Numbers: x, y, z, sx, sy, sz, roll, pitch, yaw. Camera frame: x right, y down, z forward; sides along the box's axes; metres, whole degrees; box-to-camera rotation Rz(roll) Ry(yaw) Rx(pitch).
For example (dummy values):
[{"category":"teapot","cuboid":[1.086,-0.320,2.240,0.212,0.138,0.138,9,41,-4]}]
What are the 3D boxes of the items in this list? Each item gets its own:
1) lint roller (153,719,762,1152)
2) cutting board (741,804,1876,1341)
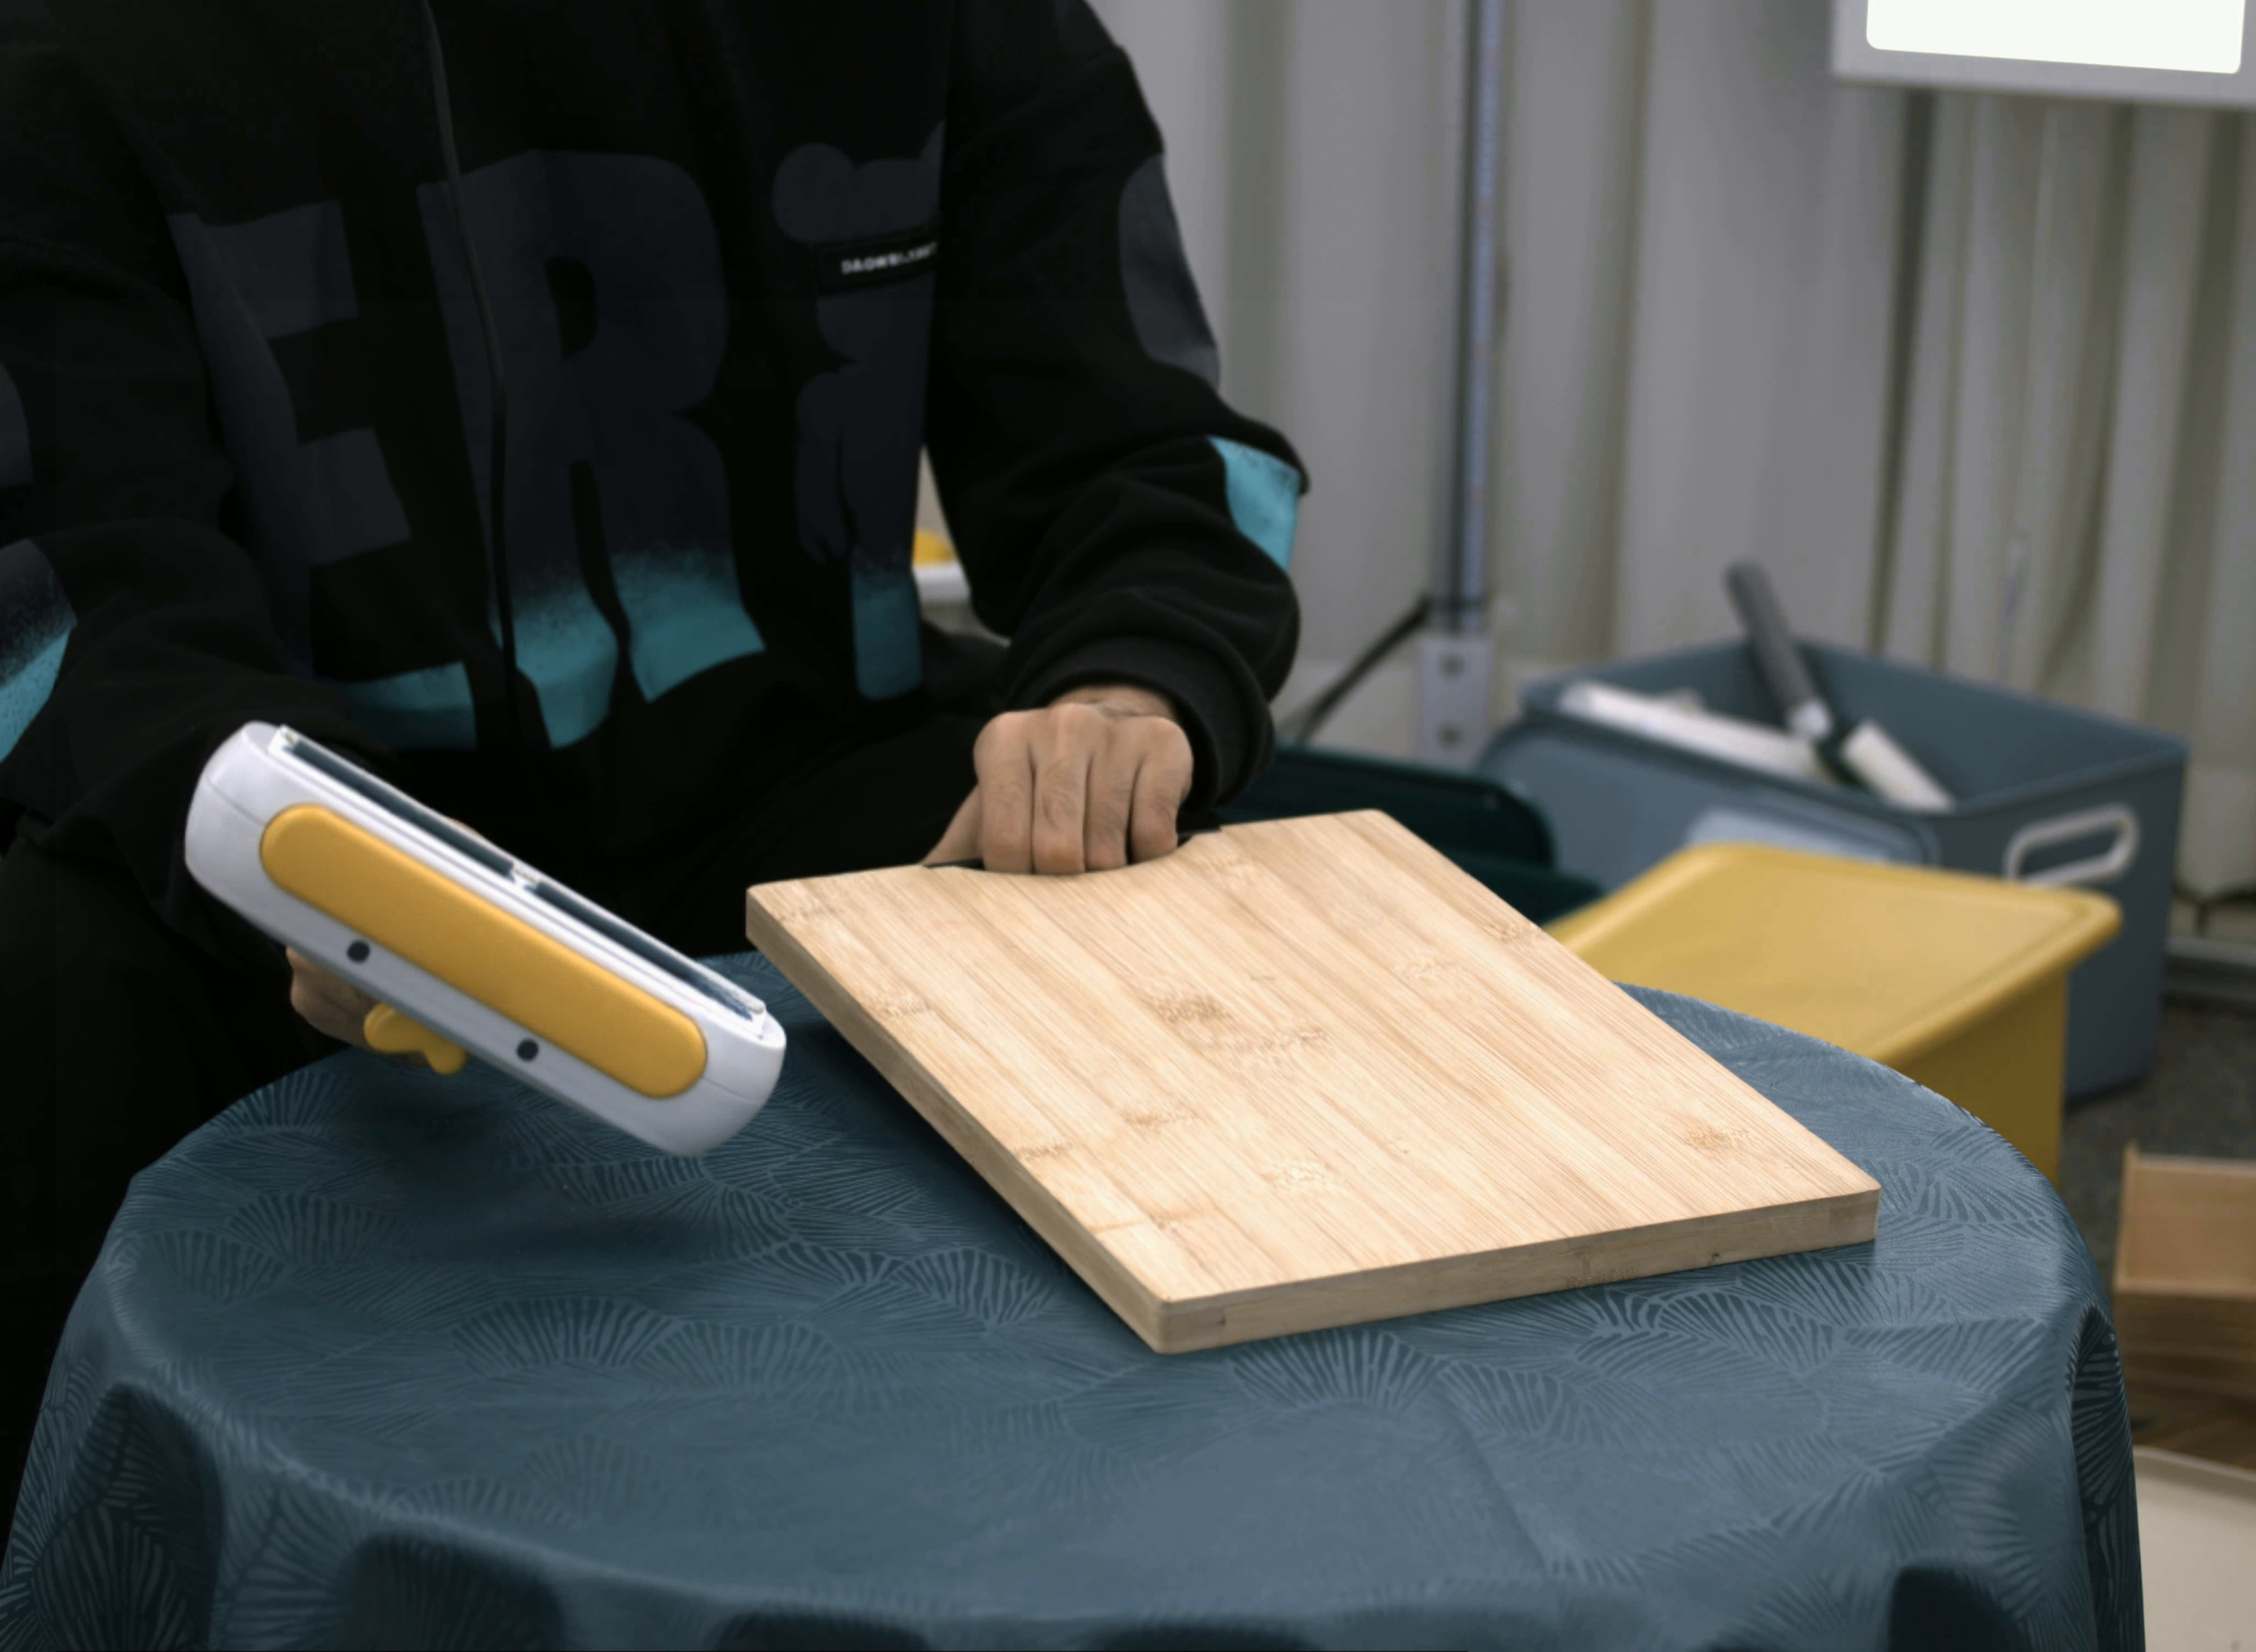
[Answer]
[{"category":"lint roller","cuboid":[-0.206,0.037,1.612,0.193,0.074,0.192,26,-1,-5]},{"category":"cutting board","cuboid":[0.047,0.071,1.678,0.251,0.024,0.344,-7,23,-25]}]
